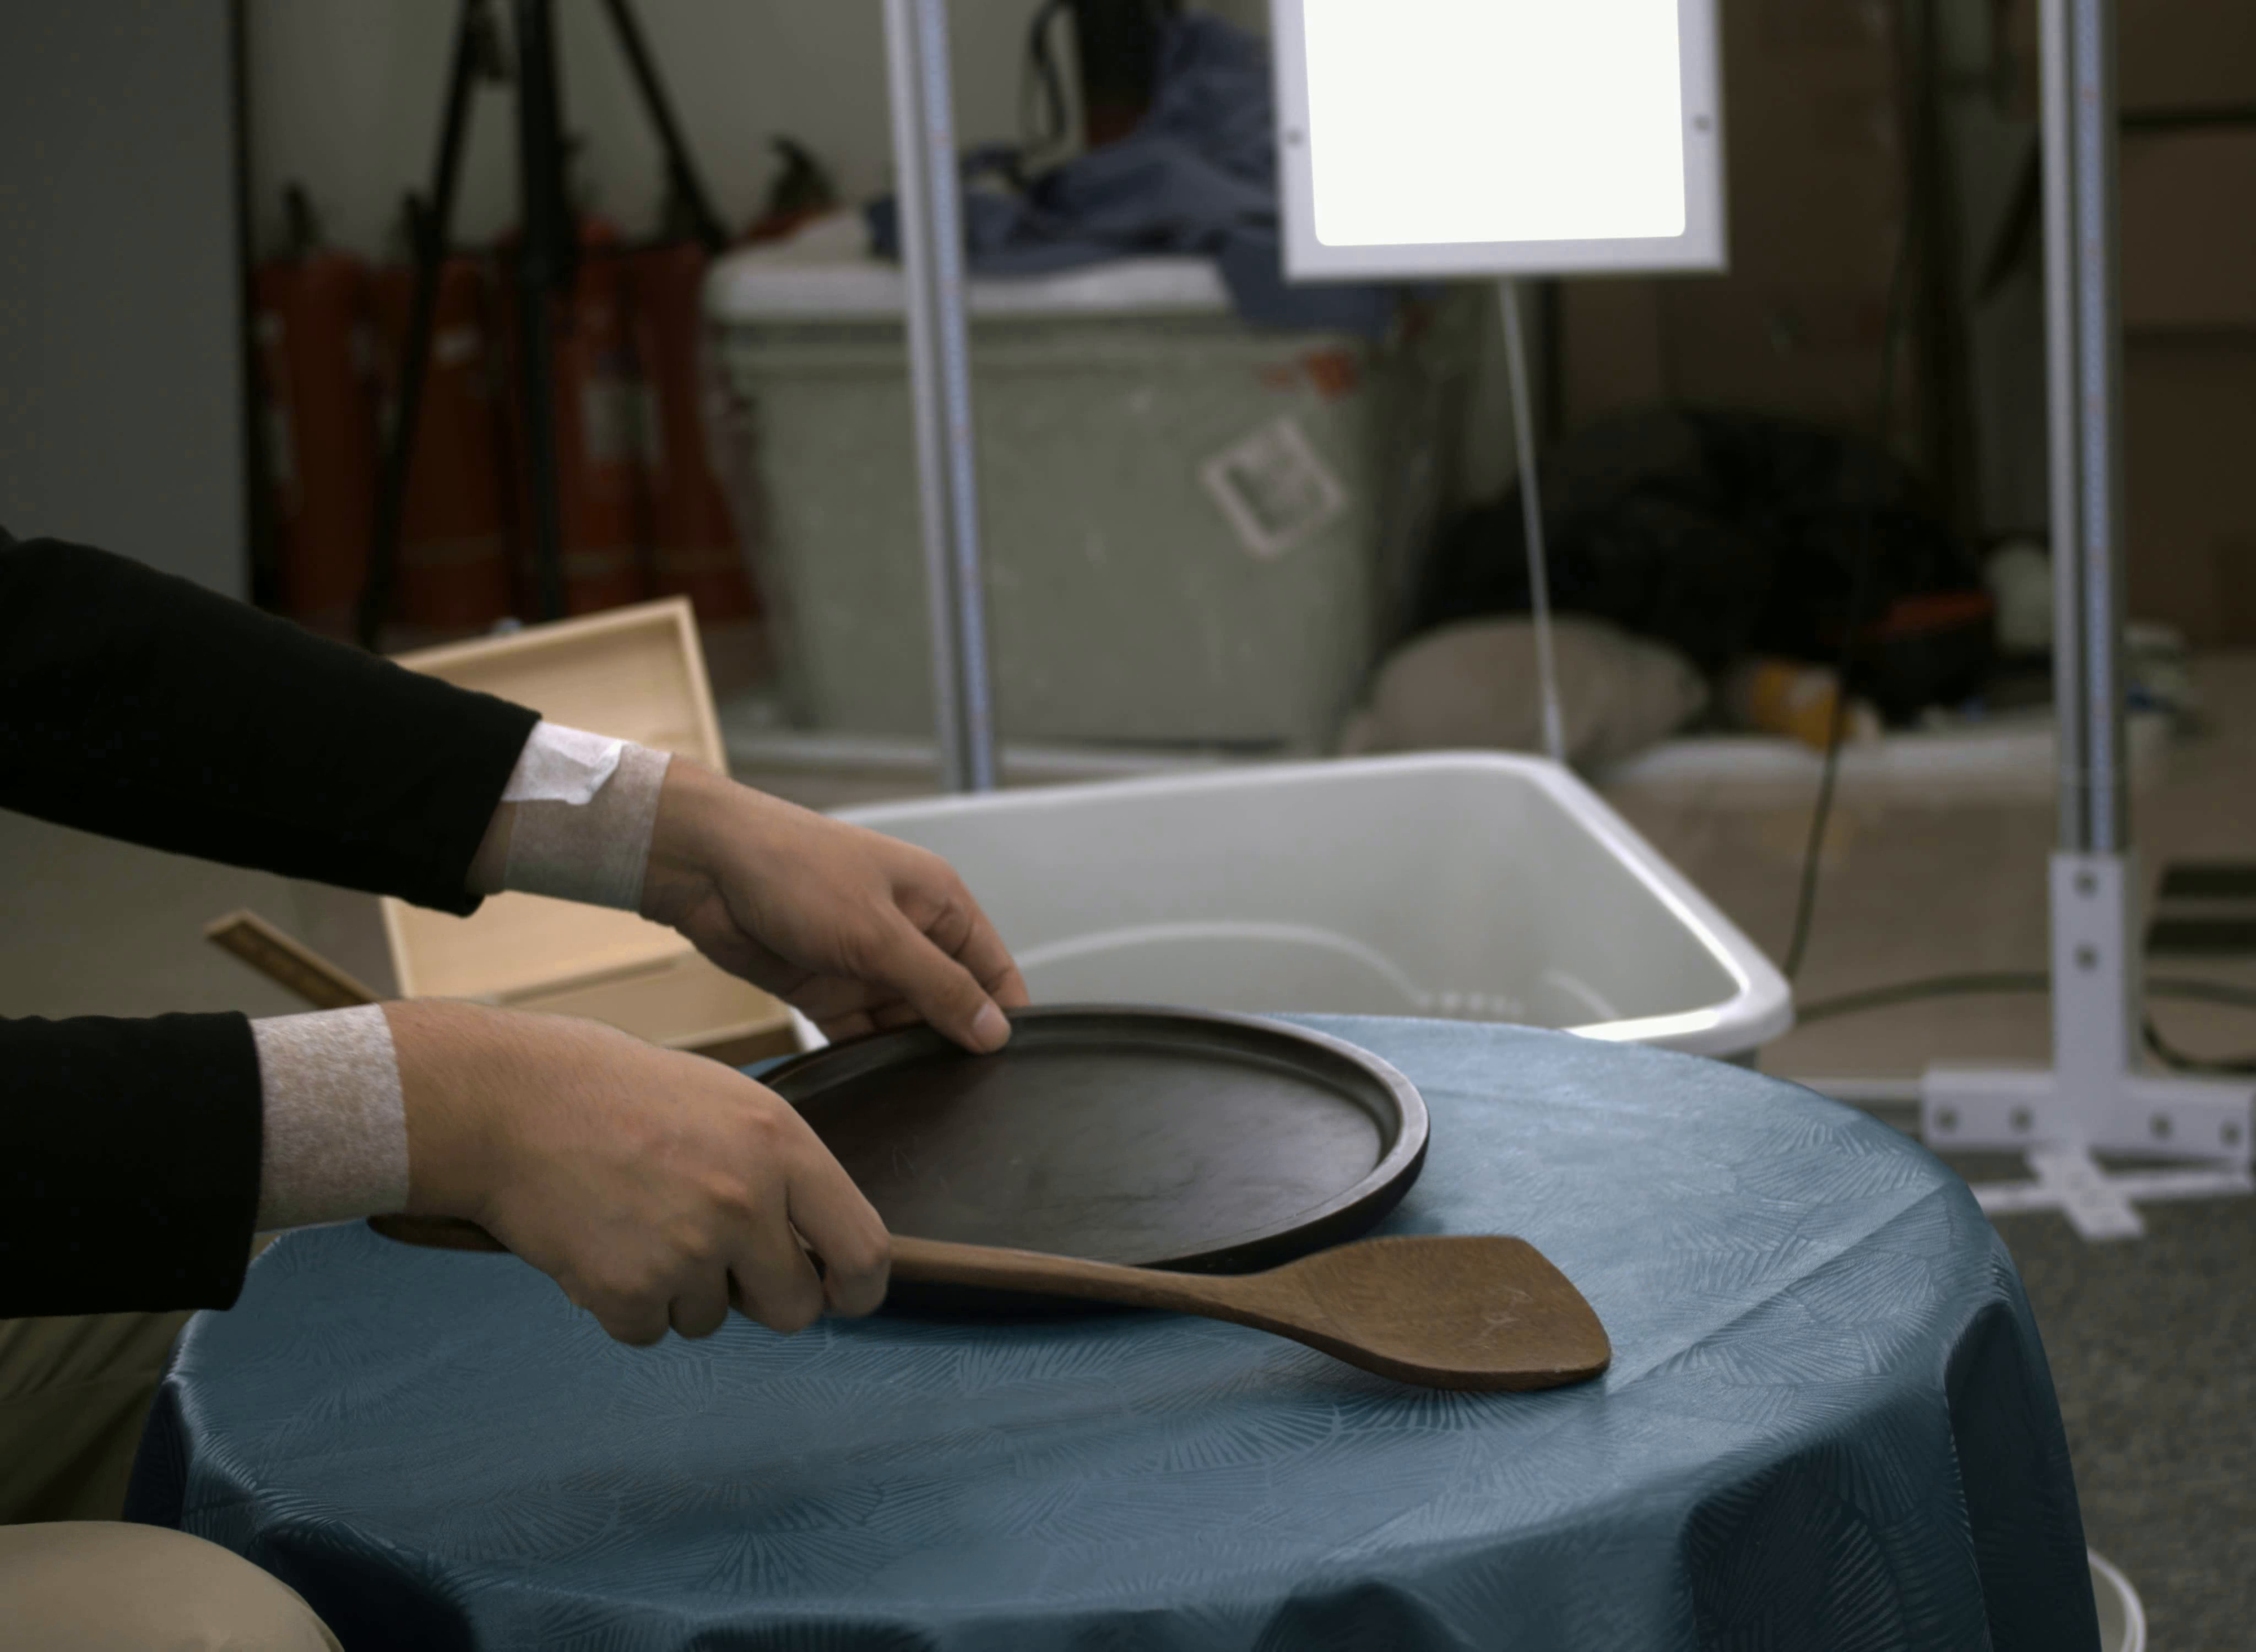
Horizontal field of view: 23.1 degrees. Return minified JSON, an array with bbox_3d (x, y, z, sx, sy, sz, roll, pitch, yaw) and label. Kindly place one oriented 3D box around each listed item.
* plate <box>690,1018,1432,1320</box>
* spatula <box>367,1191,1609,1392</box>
[{"bbox_3d":[-0.023,0.114,1.880,0.254,0.029,0.254,-3,19,0],"label":"plate"},{"bbox_3d":[-0.039,0.136,1.673,0.381,0.016,0.096,6,20,-13],"label":"spatula"}]
